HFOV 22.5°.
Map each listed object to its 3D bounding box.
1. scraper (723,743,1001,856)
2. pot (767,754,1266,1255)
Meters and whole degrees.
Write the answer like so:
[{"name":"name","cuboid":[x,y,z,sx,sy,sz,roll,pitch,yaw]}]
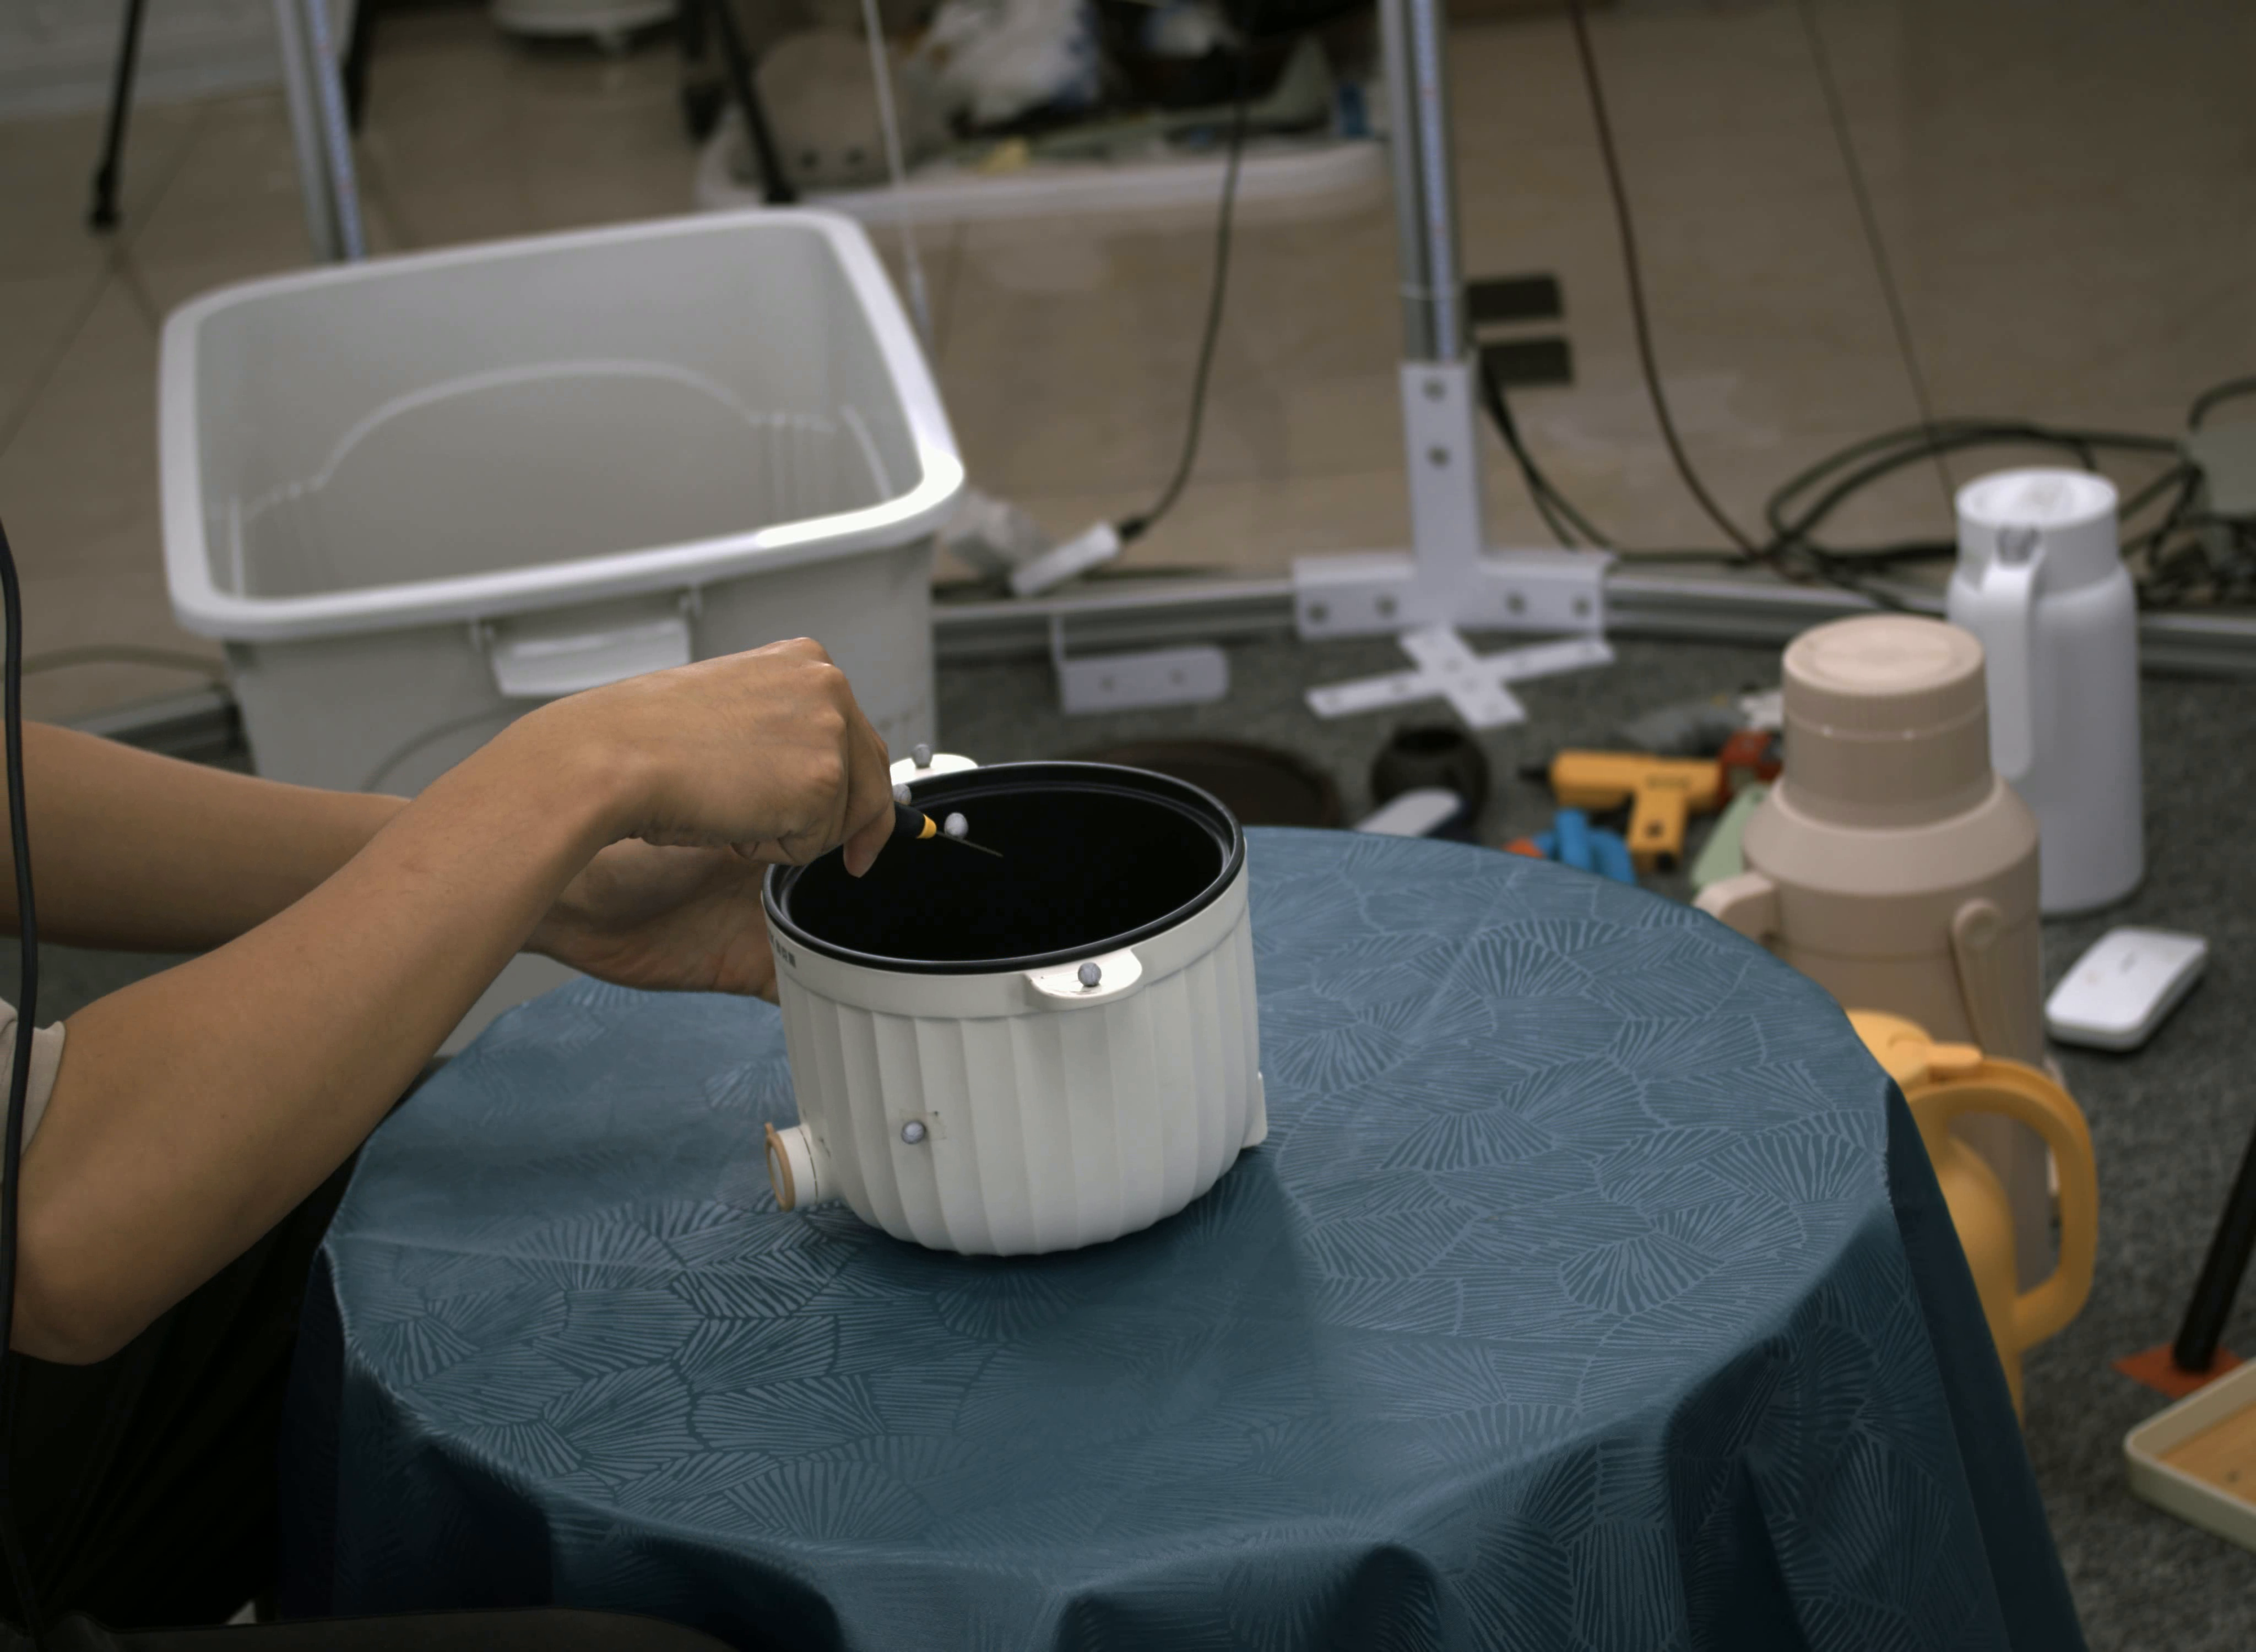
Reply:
[{"name":"scraper","cuboid":[-0.094,-0.008,1.993,0.038,0.015,0.172,23,1,25]},{"name":"pot","cuboid":[-0.044,0.074,2.134,0.190,0.145,0.237,-10,24,-16]}]
